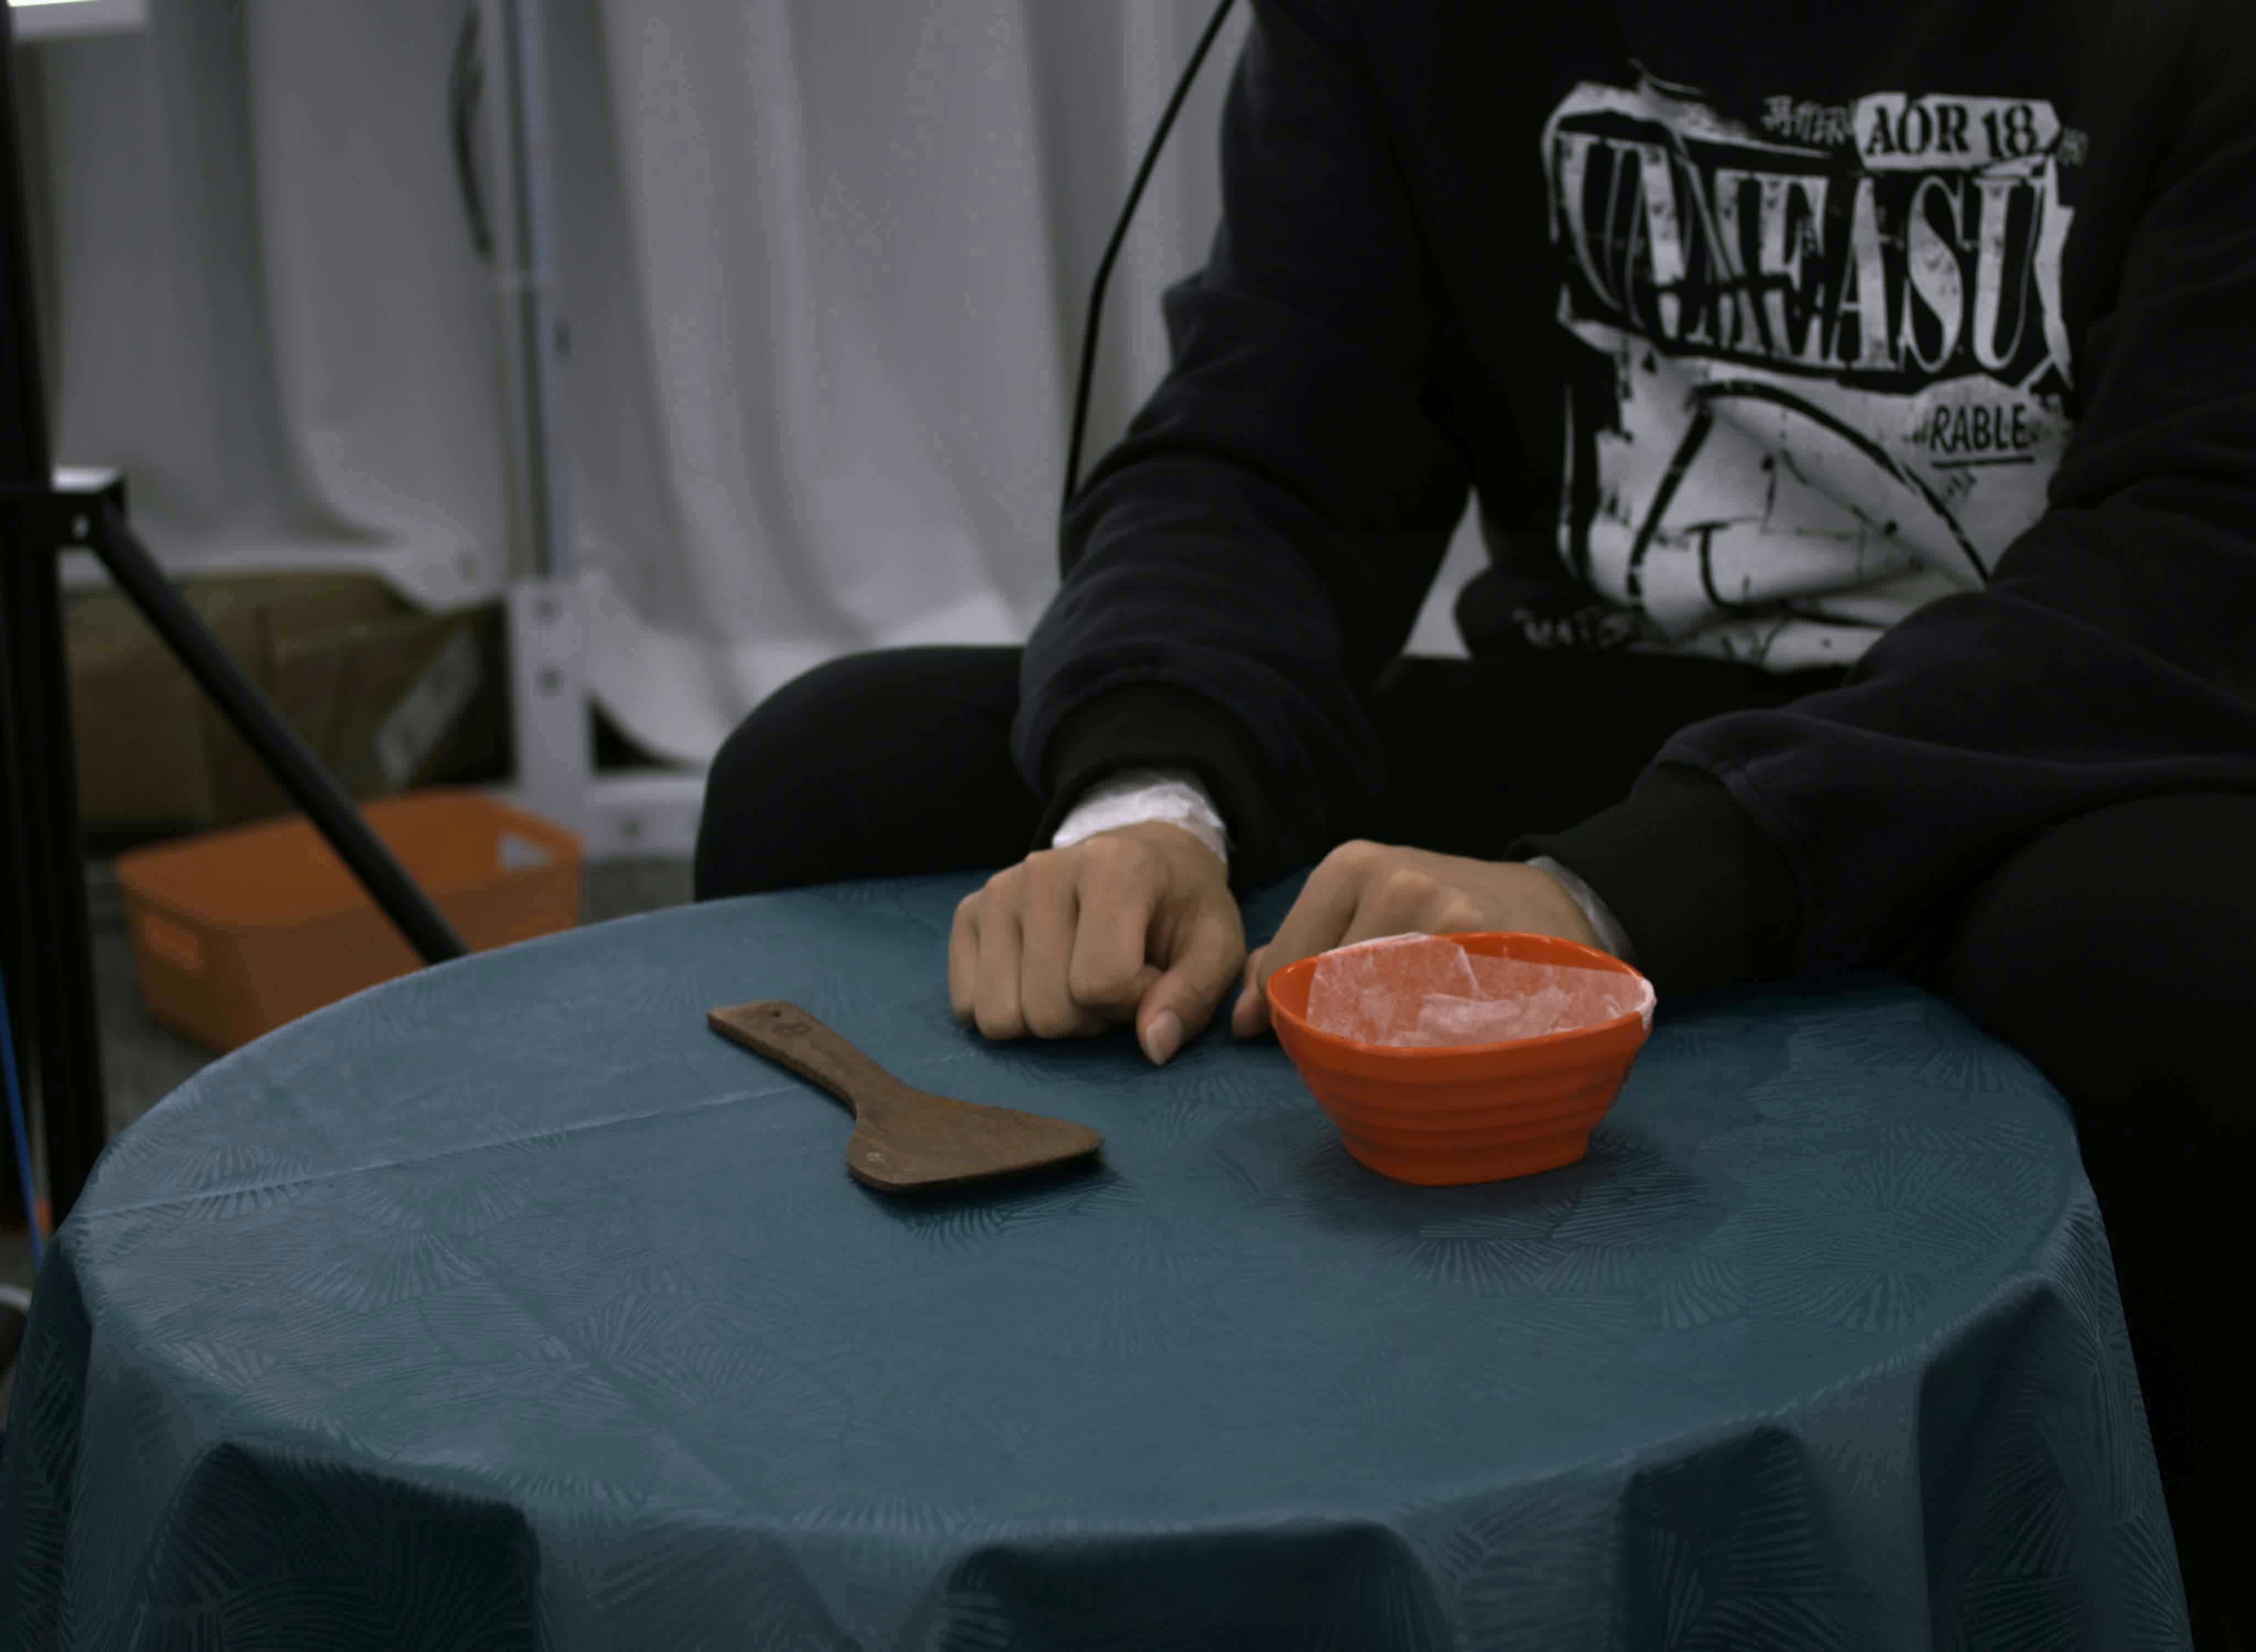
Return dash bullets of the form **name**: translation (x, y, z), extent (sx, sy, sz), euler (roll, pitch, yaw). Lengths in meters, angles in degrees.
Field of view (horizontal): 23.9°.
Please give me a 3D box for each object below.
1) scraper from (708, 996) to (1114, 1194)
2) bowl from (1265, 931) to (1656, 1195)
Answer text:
- **scraper**: translation (-0.079, 0.082, 1.649), extent (0.074, 0.011, 0.215), euler (-9, 16, -25)
- **bowl**: translation (0.100, 0.073, 1.577), extent (0.118, 0.051, 0.119), euler (-4, 16, 0)
